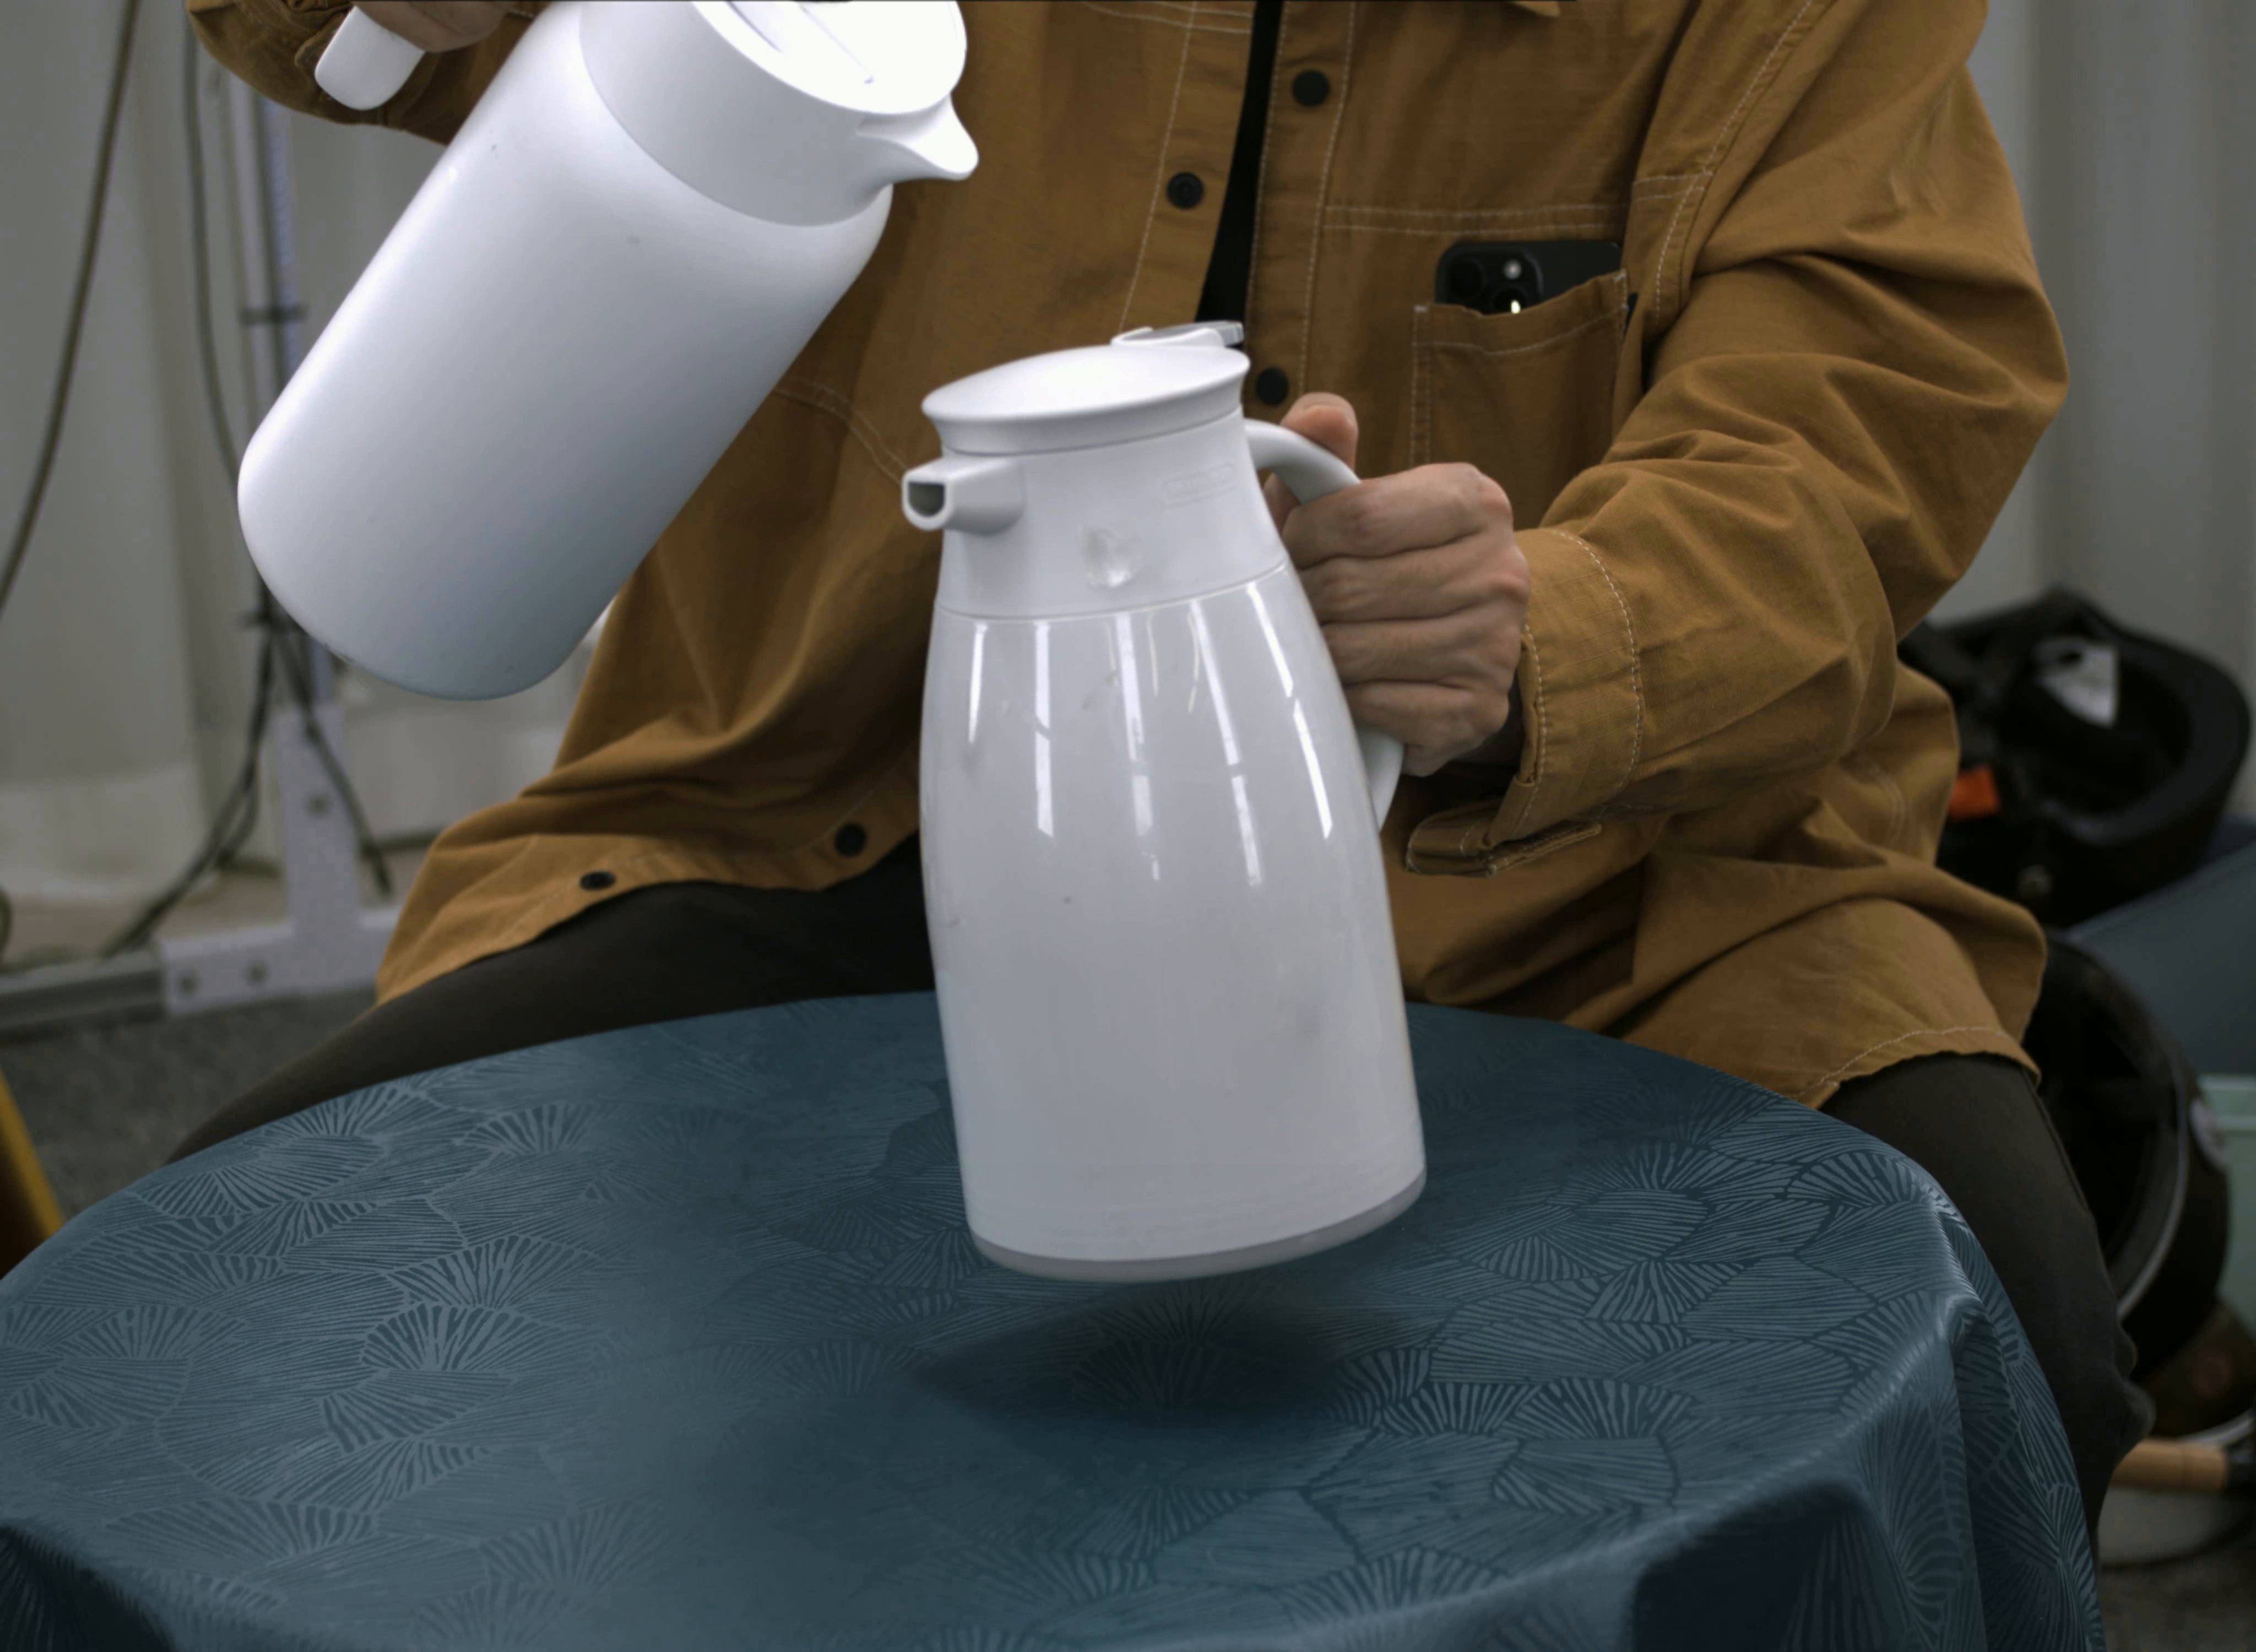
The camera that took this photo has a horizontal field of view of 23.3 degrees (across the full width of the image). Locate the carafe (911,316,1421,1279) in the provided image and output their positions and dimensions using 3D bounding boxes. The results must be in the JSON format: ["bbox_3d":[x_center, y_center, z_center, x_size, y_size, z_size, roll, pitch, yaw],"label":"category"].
[{"bbox_3d":[0.016,-0.016,1.542,0.167,0.248,0.133,-17,15,-41],"label":"carafe"}]

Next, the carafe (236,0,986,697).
[{"bbox_3d":[-0.168,-0.171,1.602,0.124,0.173,0.267,-39,-7,-49],"label":"carafe"}]
